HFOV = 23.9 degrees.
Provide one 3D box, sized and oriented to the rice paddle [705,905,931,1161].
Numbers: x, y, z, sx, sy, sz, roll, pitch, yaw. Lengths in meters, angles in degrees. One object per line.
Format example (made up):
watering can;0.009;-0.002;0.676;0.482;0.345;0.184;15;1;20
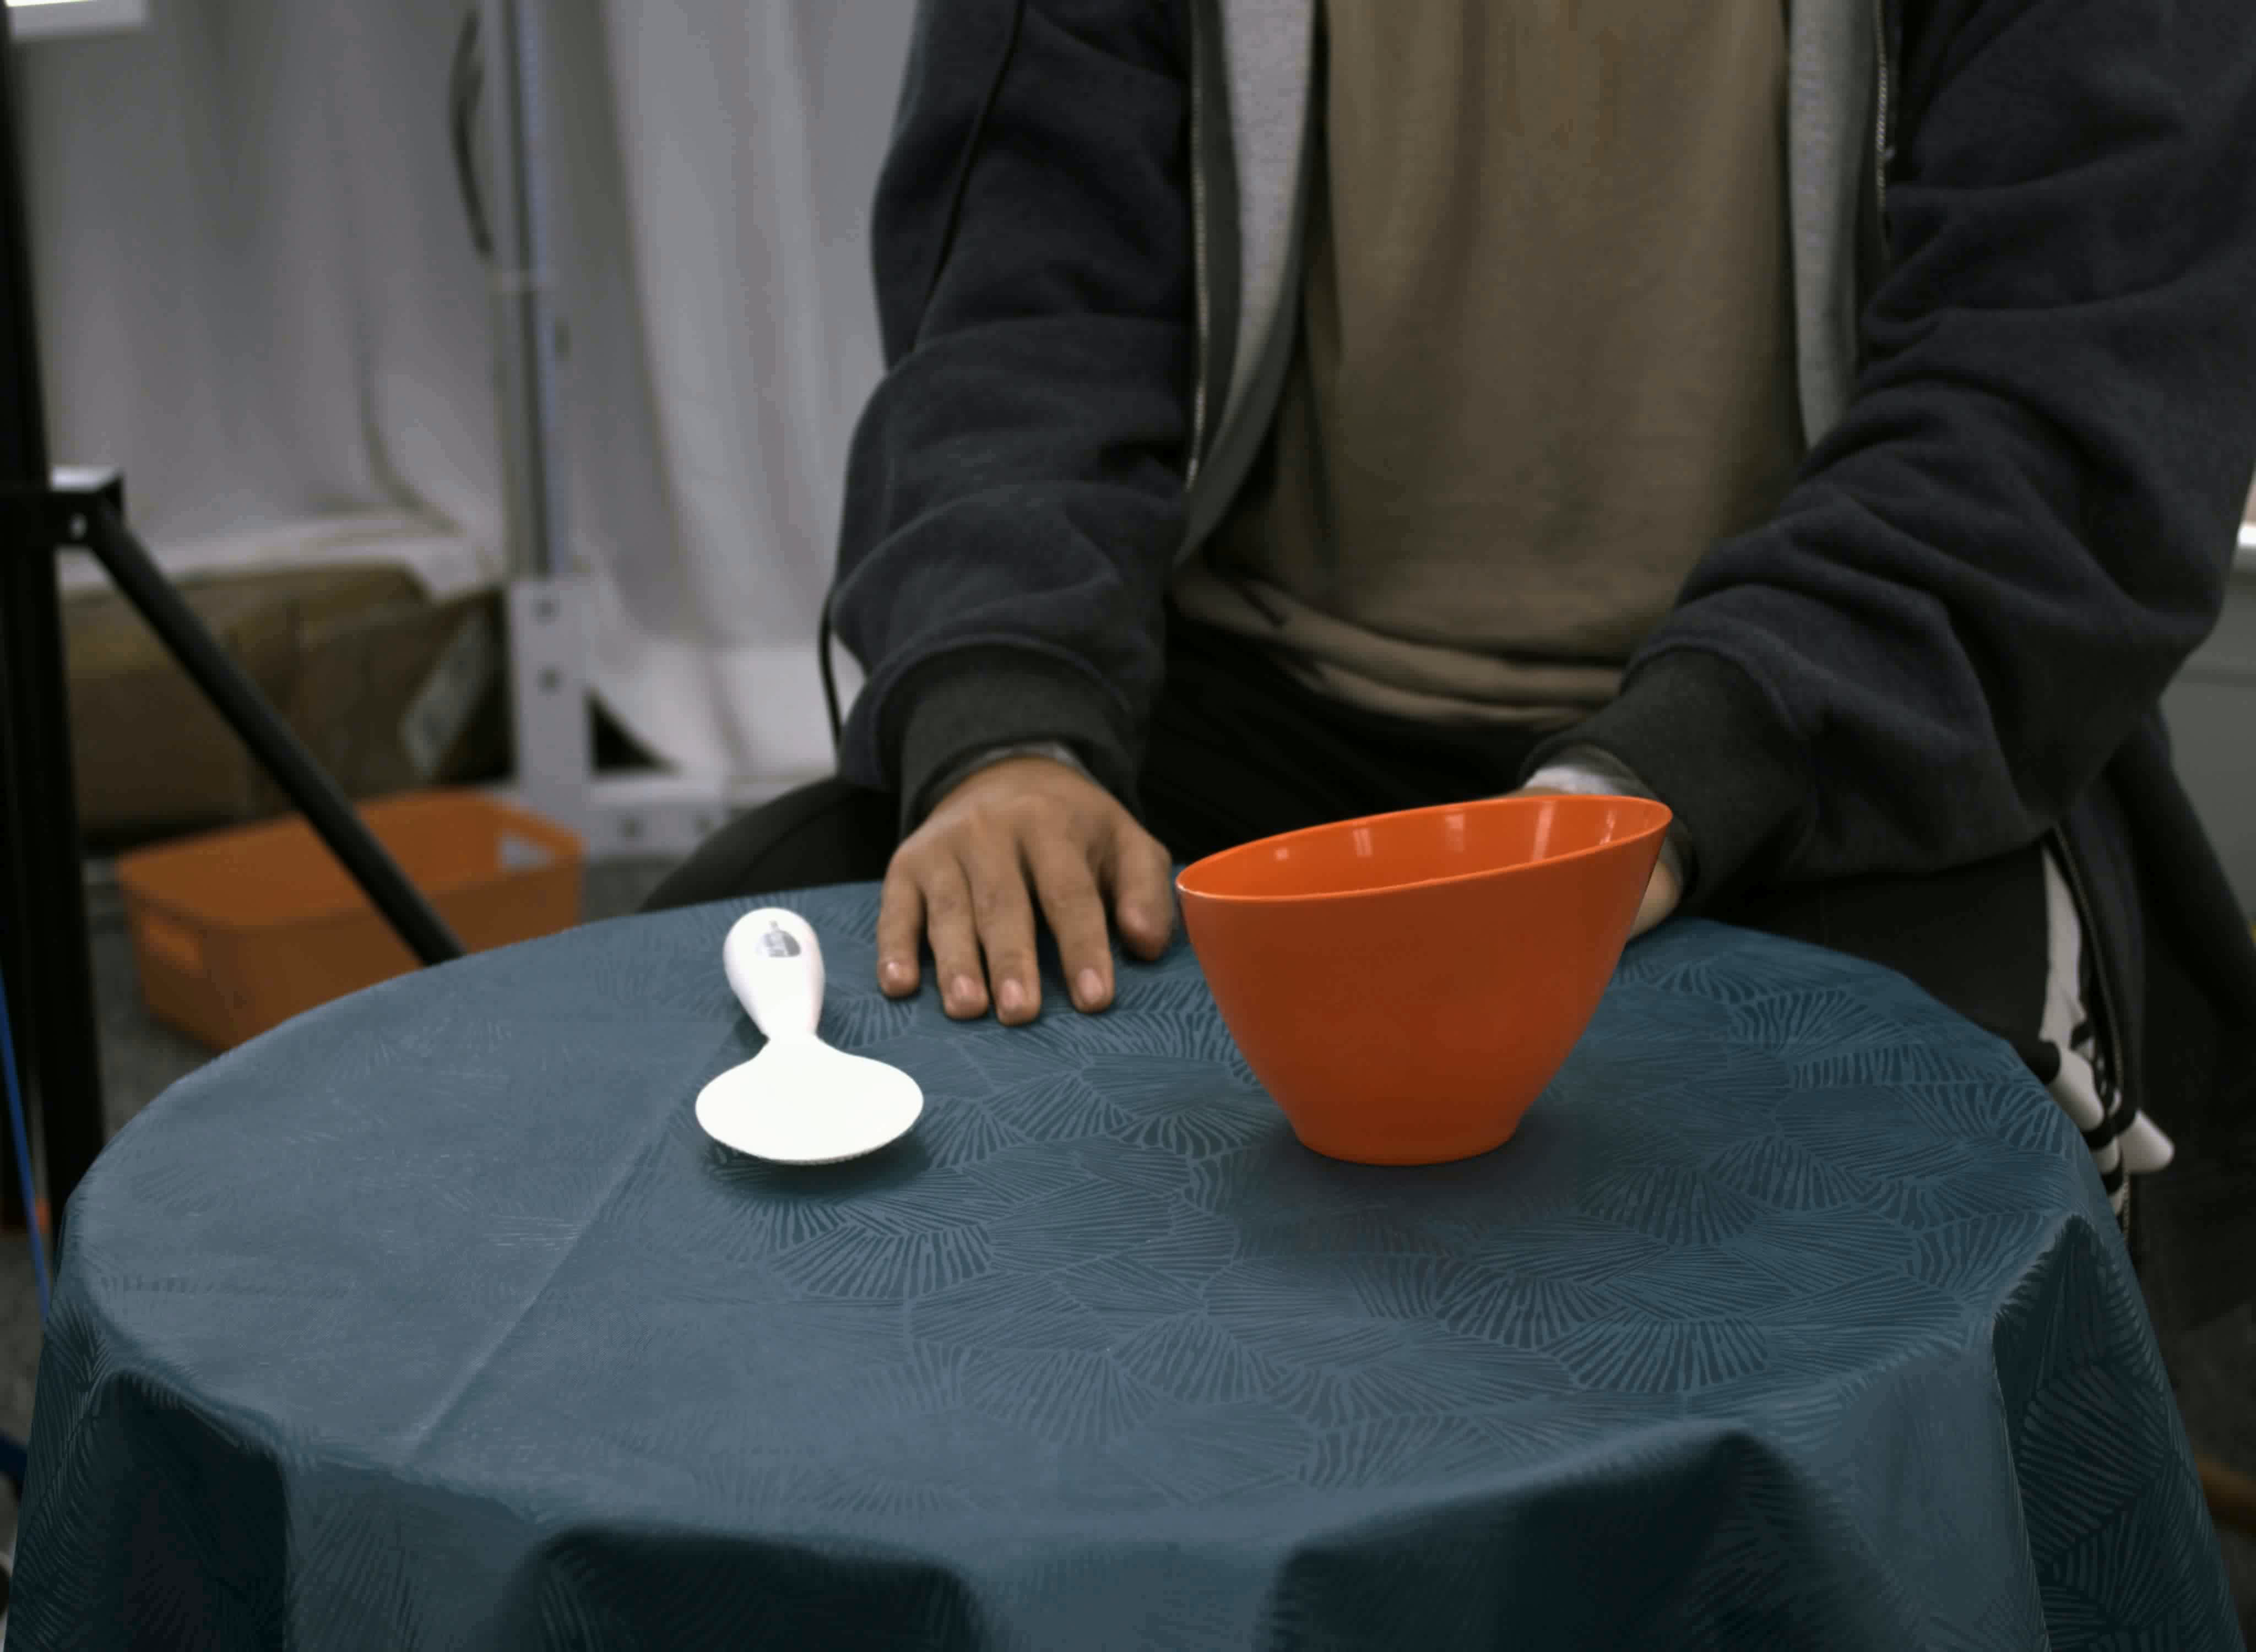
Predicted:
rice paddle;-0.103;0.067;1.666;0.068;0.029;0.207;-6;16;-7

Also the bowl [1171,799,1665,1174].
bowl;0.087;0.047;1.579;0.147;0.104;0.149;-4;15;0
